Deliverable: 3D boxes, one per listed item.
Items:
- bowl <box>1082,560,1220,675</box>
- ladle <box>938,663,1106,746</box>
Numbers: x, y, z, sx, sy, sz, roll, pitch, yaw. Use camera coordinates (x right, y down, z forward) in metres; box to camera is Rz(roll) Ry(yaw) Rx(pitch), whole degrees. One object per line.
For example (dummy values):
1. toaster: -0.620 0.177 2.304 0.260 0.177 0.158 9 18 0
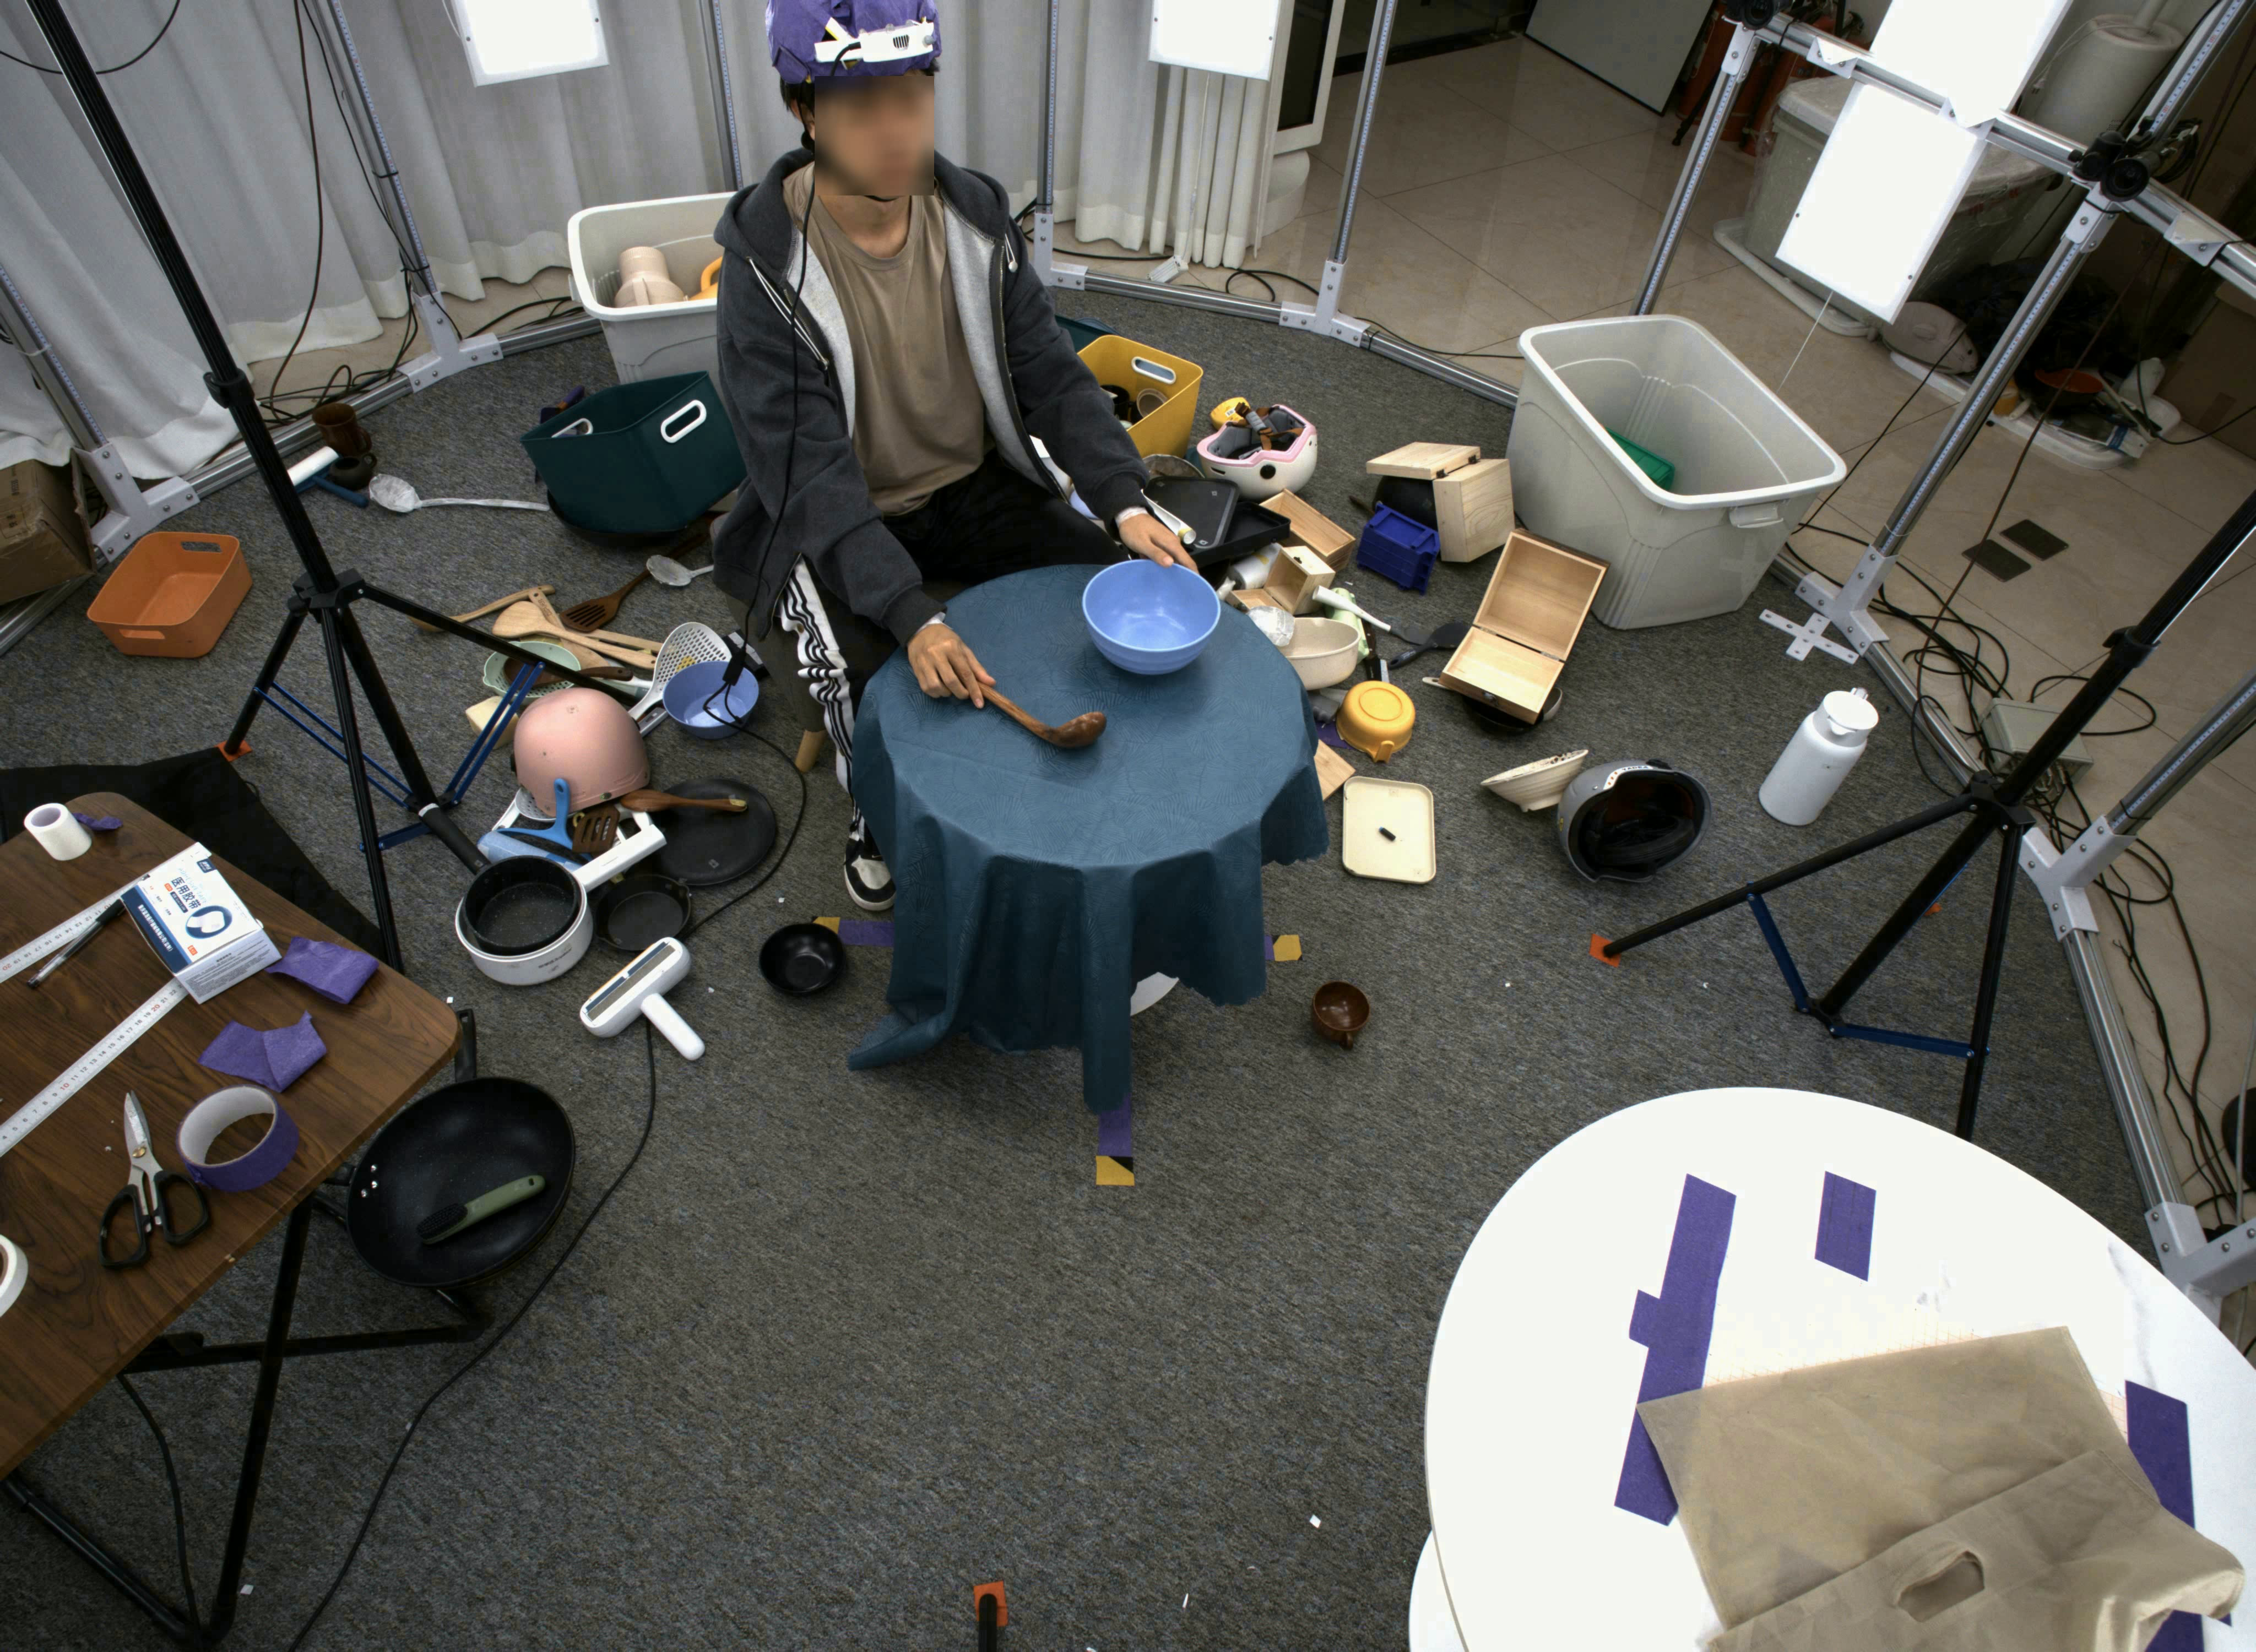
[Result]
1. bowl: 0.031 -0.286 1.856 0.196 0.093 0.201 1 49 -2
2. ladle: -0.150 -0.187 1.772 0.278 0.076 0.081 34 15 25
